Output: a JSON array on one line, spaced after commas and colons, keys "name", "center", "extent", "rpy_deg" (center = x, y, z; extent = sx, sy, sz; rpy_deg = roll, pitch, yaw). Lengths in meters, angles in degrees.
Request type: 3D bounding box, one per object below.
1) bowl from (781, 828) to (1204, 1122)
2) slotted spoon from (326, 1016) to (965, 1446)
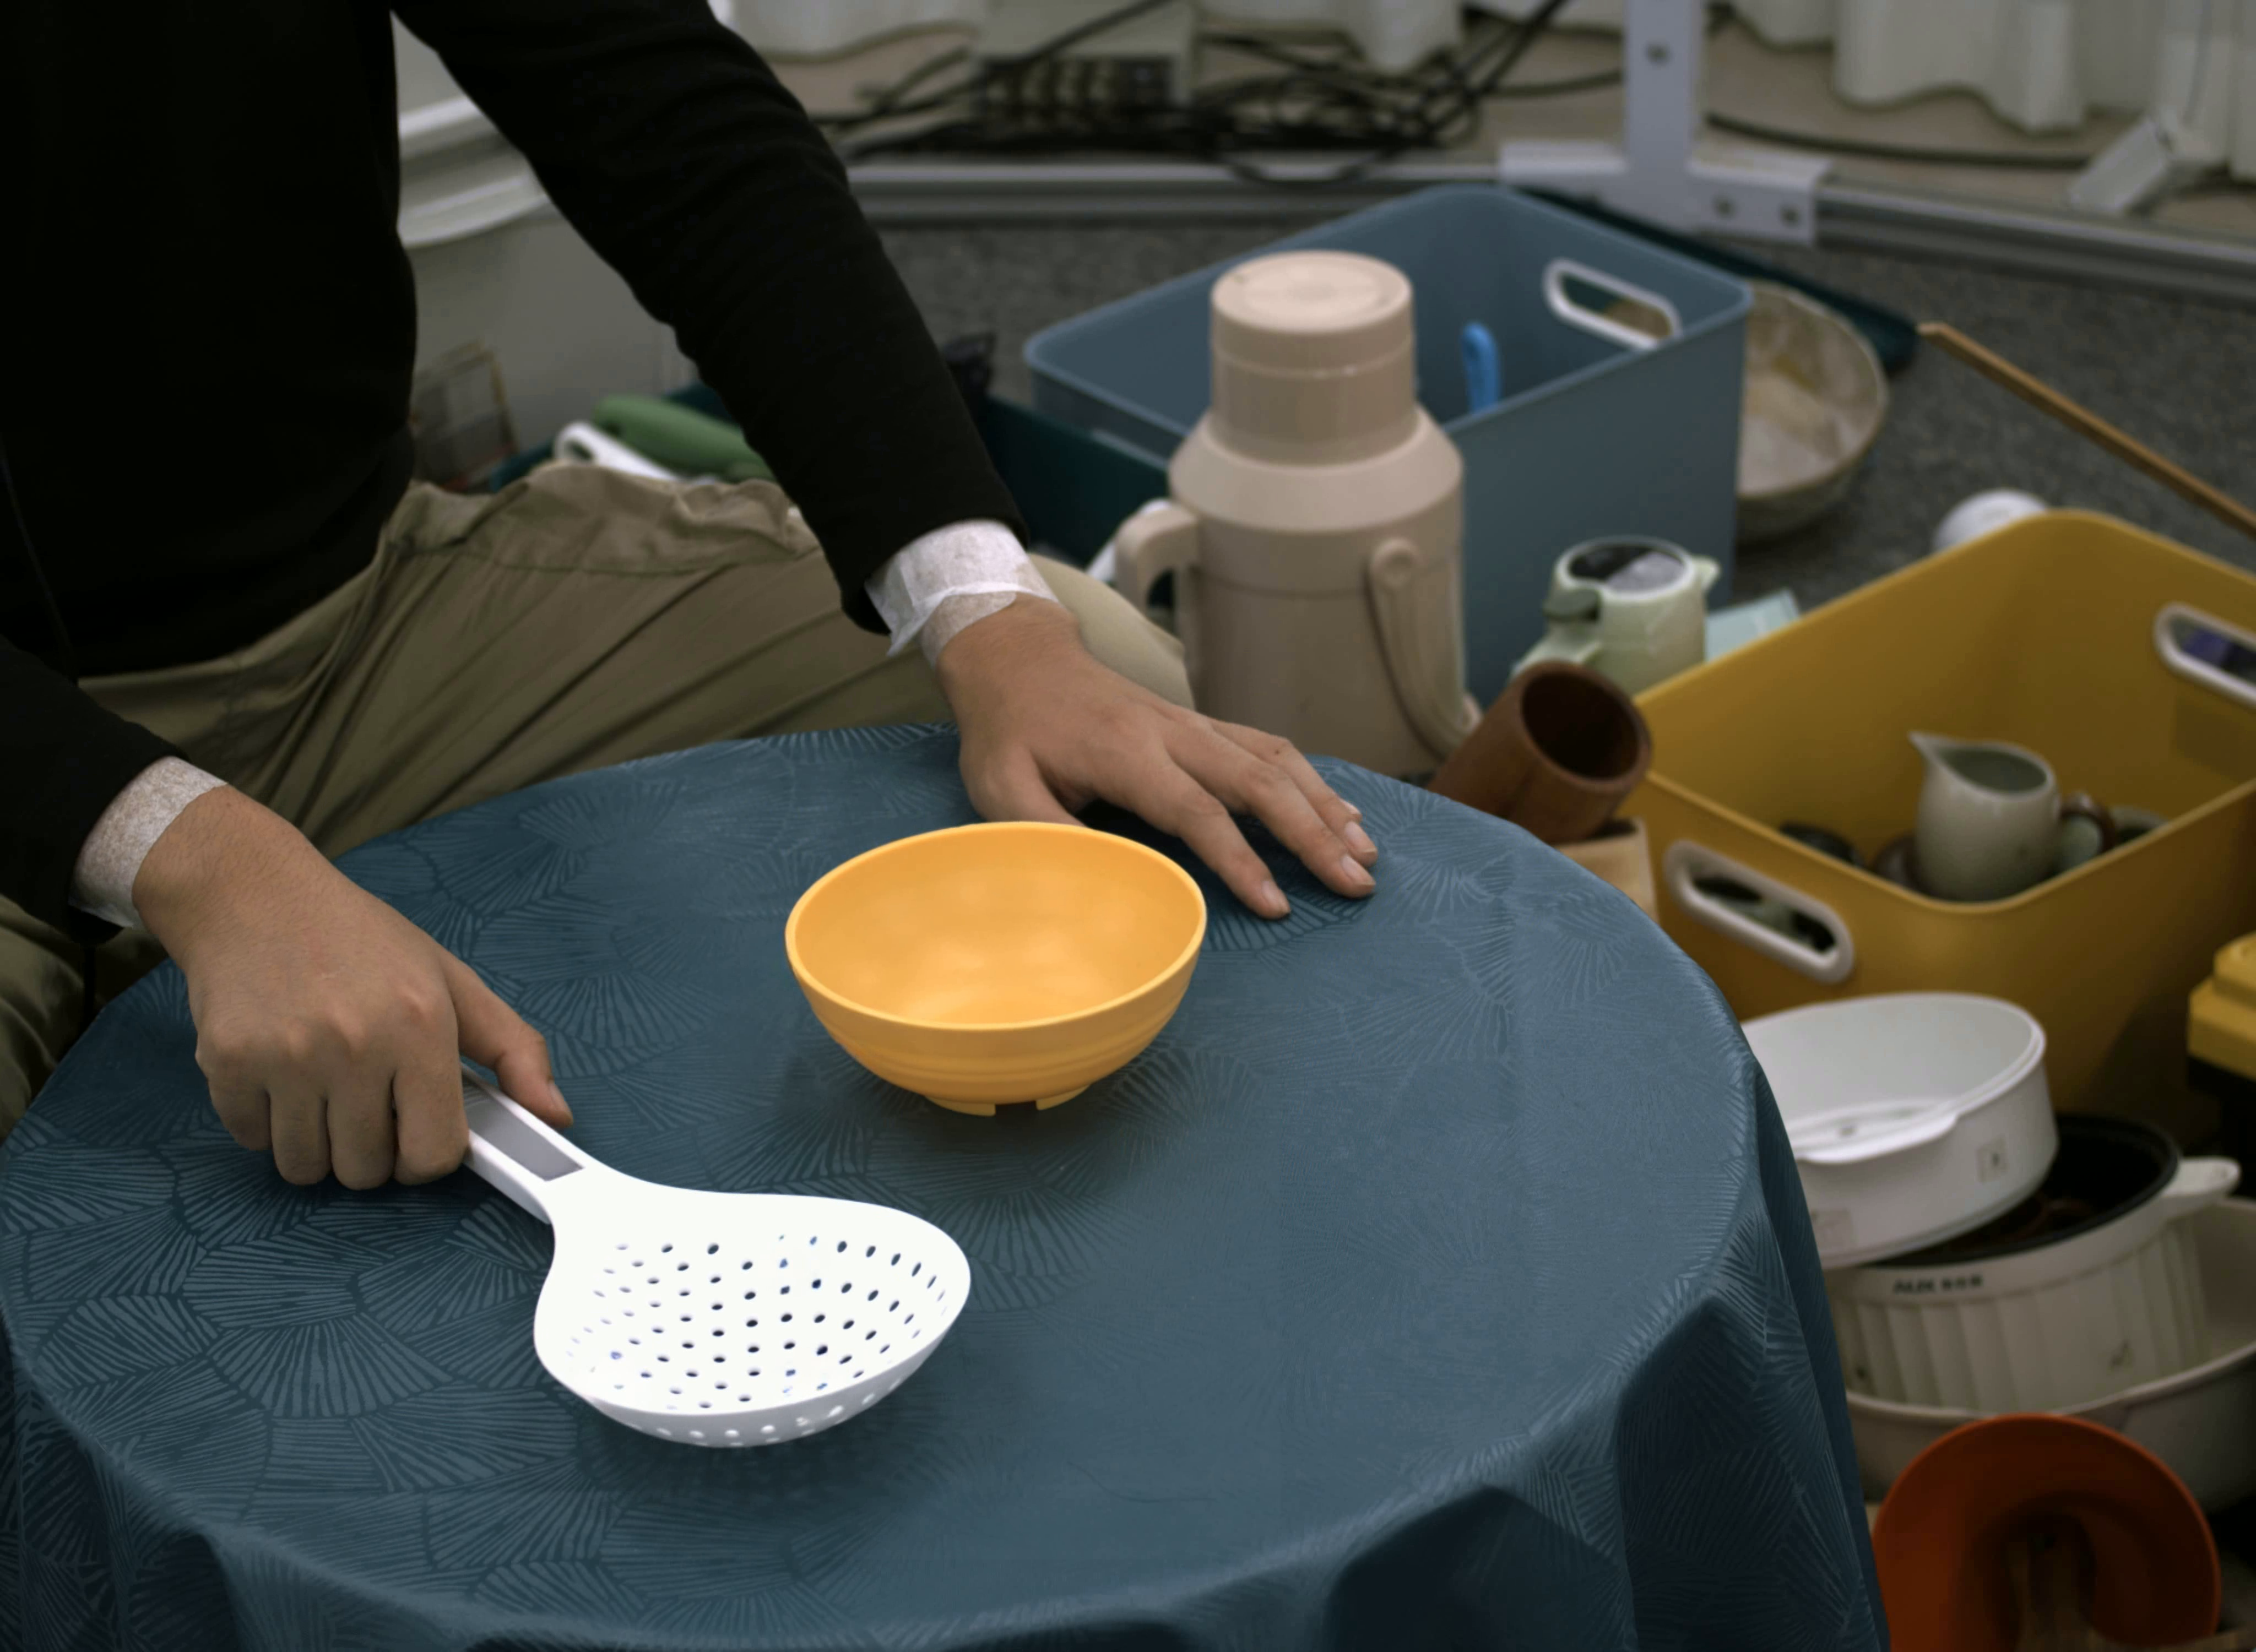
[{"name": "bowl", "center": [-0.046, 0.060, 1.926], "extent": [0.144, 0.059, 0.147], "rpy_deg": [0, 27, 1]}, {"name": "slotted spoon", "center": [-0.175, 0.124, 1.824], "extent": [0.137, 0.045, 0.350], "rpy_deg": [-20, 31, -28]}]
